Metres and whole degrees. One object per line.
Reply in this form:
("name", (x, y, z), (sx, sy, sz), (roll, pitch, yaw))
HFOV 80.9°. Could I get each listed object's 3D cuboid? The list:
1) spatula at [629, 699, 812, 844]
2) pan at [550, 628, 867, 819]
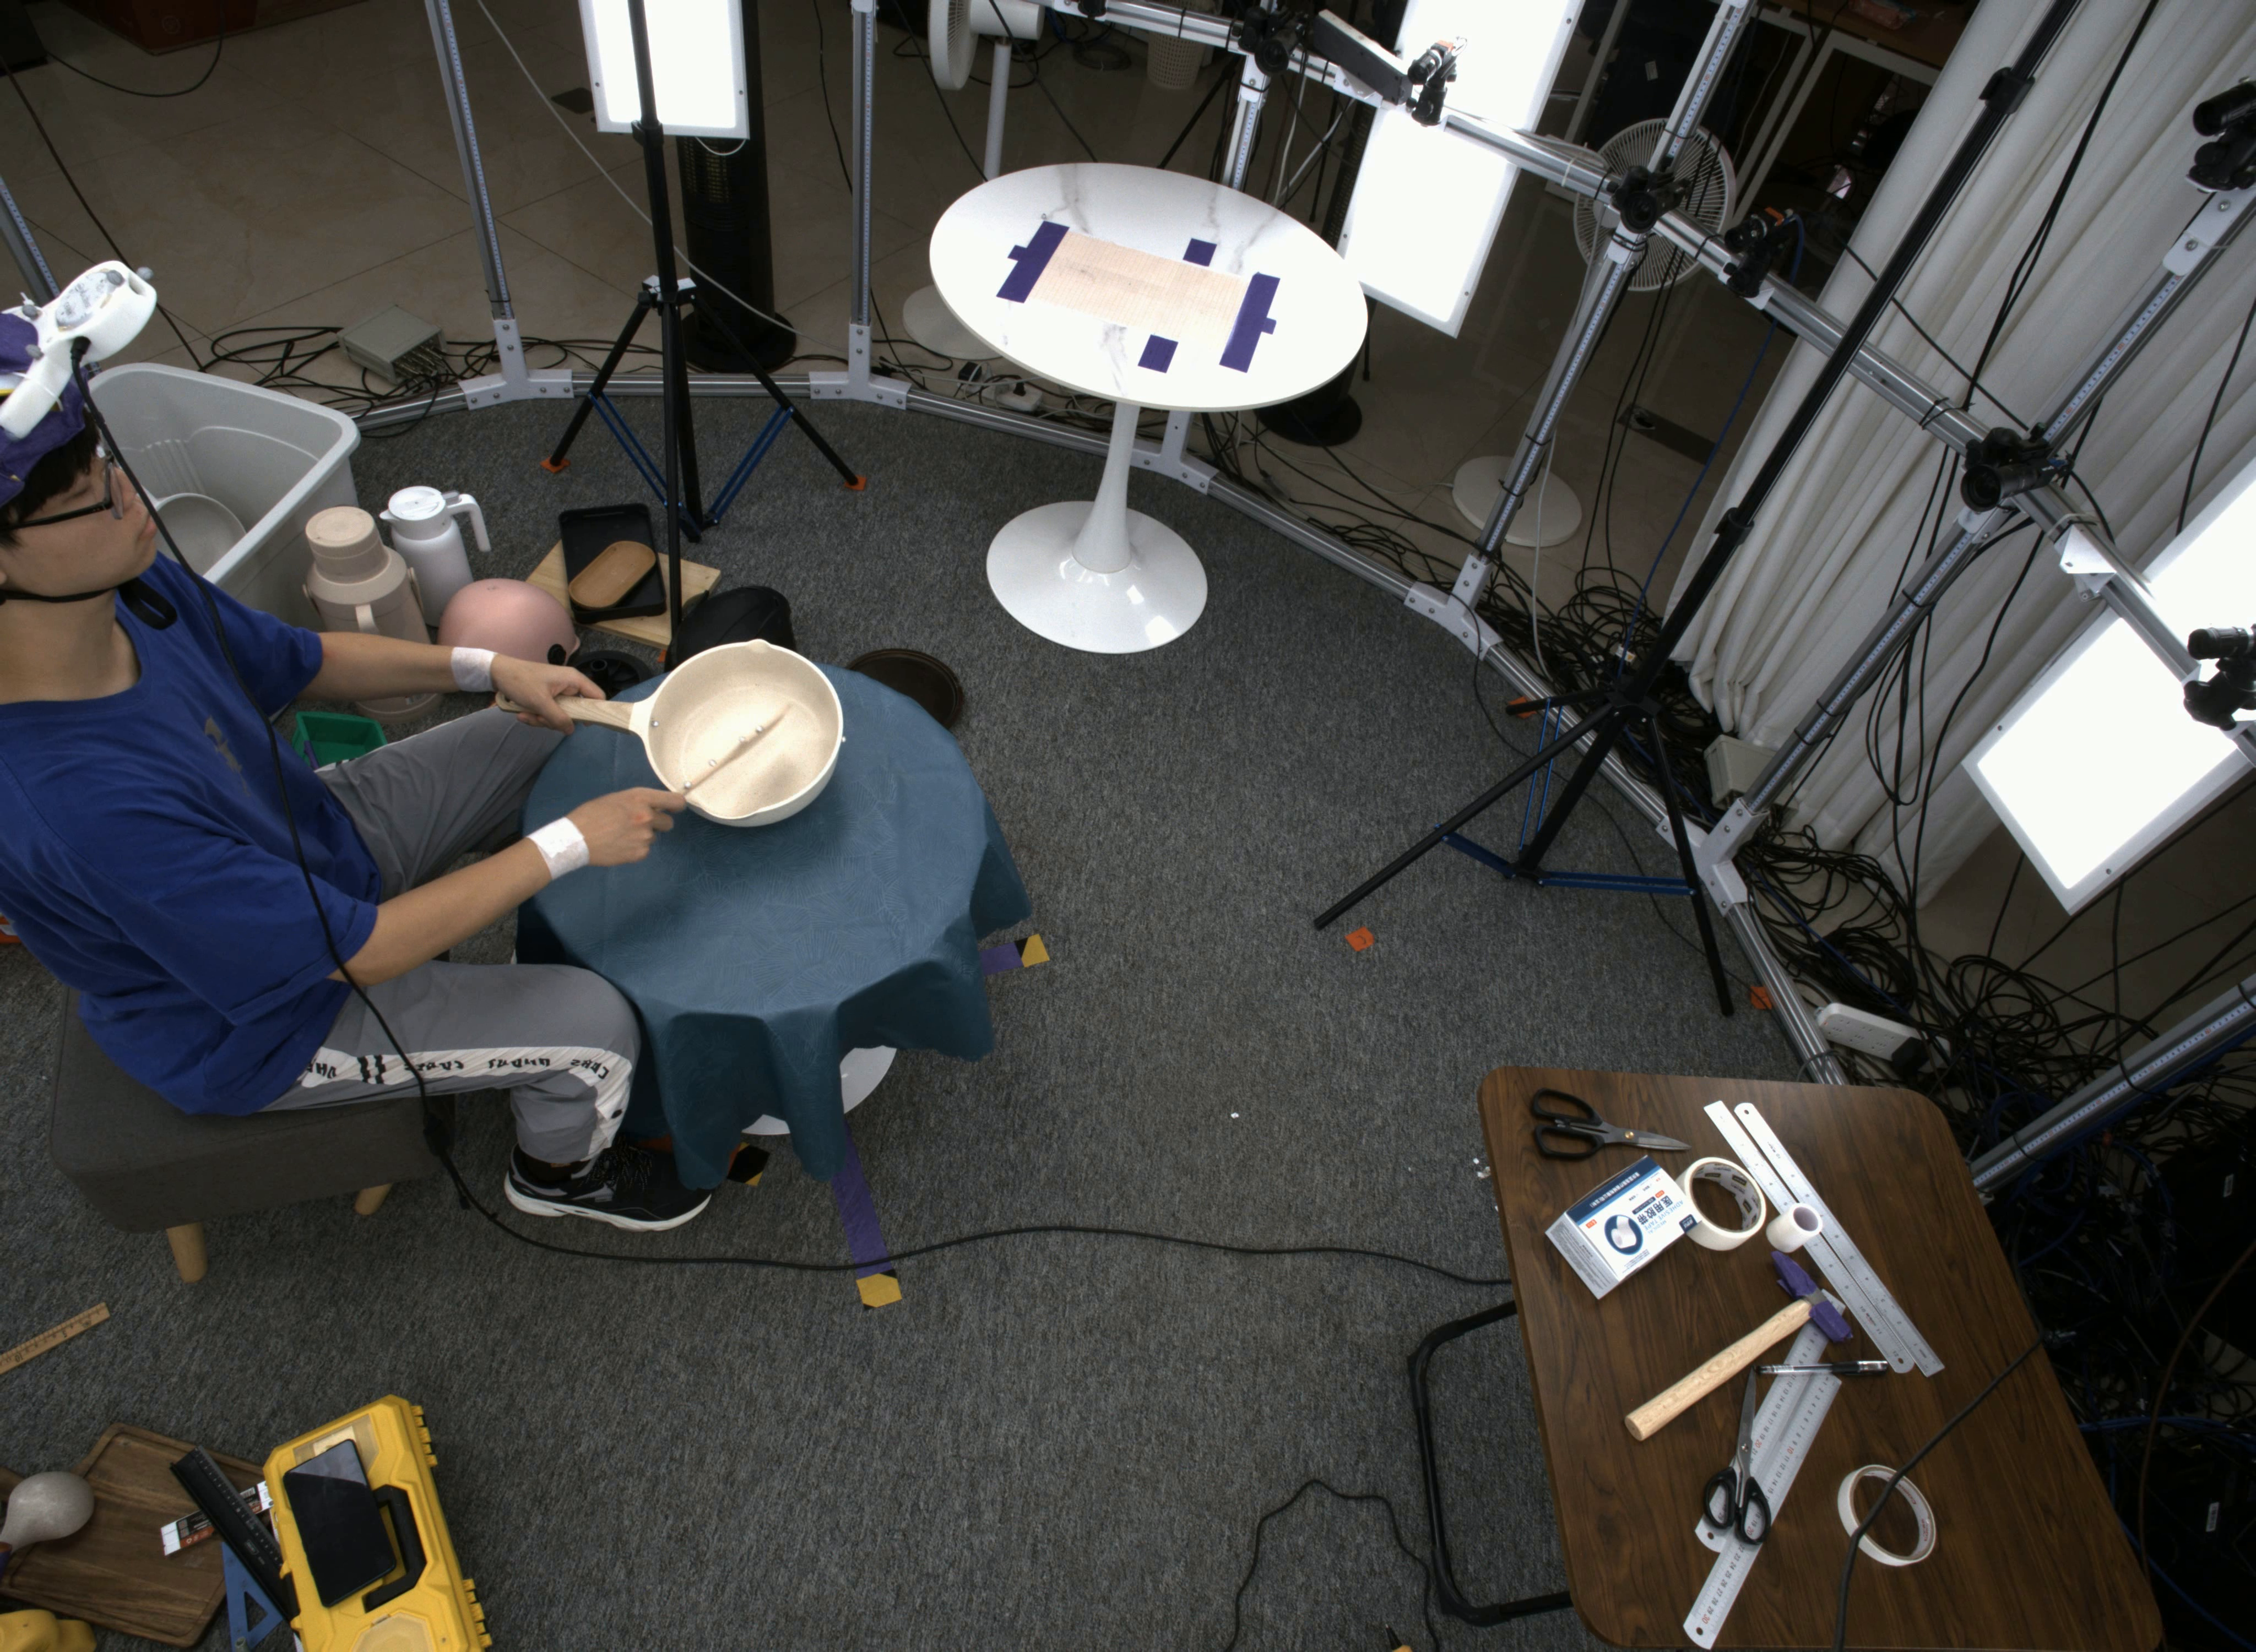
("spatula", (-0.507, -0.068, 1.610), (0.011, 0.071, 0.293), (50, 58, -5))
("pan", (-0.558, -0.135, 1.689), (0.433, 0.103, 0.261), (4, 68, -7))
